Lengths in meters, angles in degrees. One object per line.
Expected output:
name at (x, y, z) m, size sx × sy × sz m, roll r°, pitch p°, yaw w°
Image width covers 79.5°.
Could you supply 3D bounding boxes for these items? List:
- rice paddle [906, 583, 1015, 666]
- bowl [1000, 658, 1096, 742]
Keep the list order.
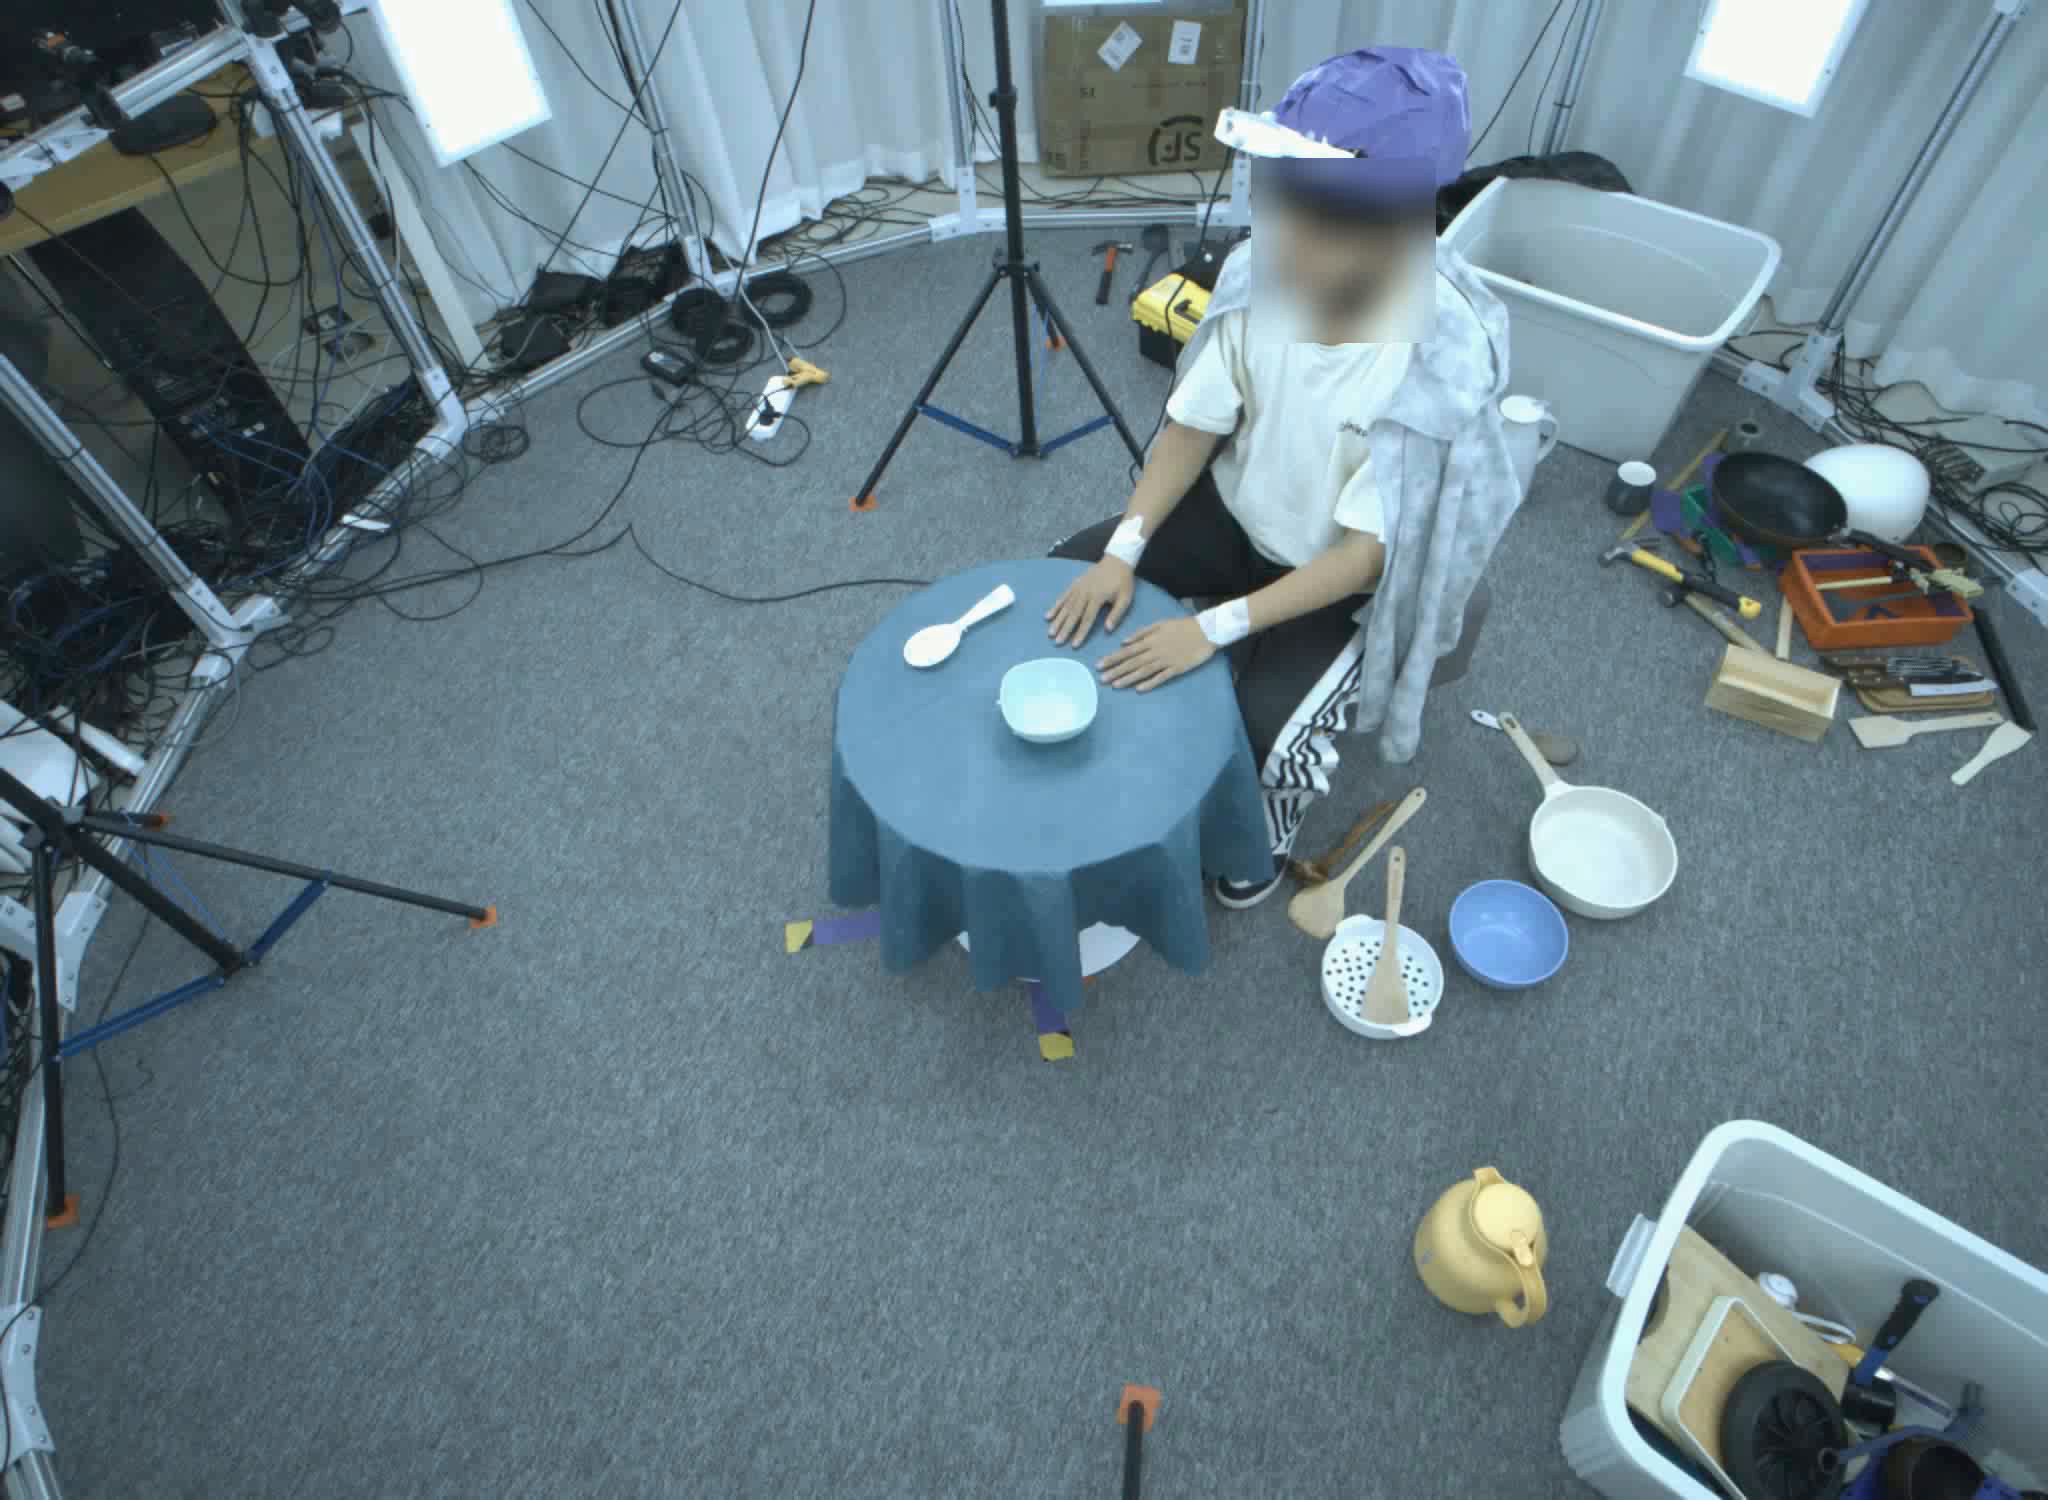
rice paddle at (-0.099, -0.194, 1.911) m, size 0.207 × 0.030 × 0.067 m, roll -38°, pitch 60°, yaw -22°
bowl at (0.037, -0.063, 1.797) m, size 0.151 × 0.059 × 0.150 m, roll -2°, pitch 54°, yaw 4°
